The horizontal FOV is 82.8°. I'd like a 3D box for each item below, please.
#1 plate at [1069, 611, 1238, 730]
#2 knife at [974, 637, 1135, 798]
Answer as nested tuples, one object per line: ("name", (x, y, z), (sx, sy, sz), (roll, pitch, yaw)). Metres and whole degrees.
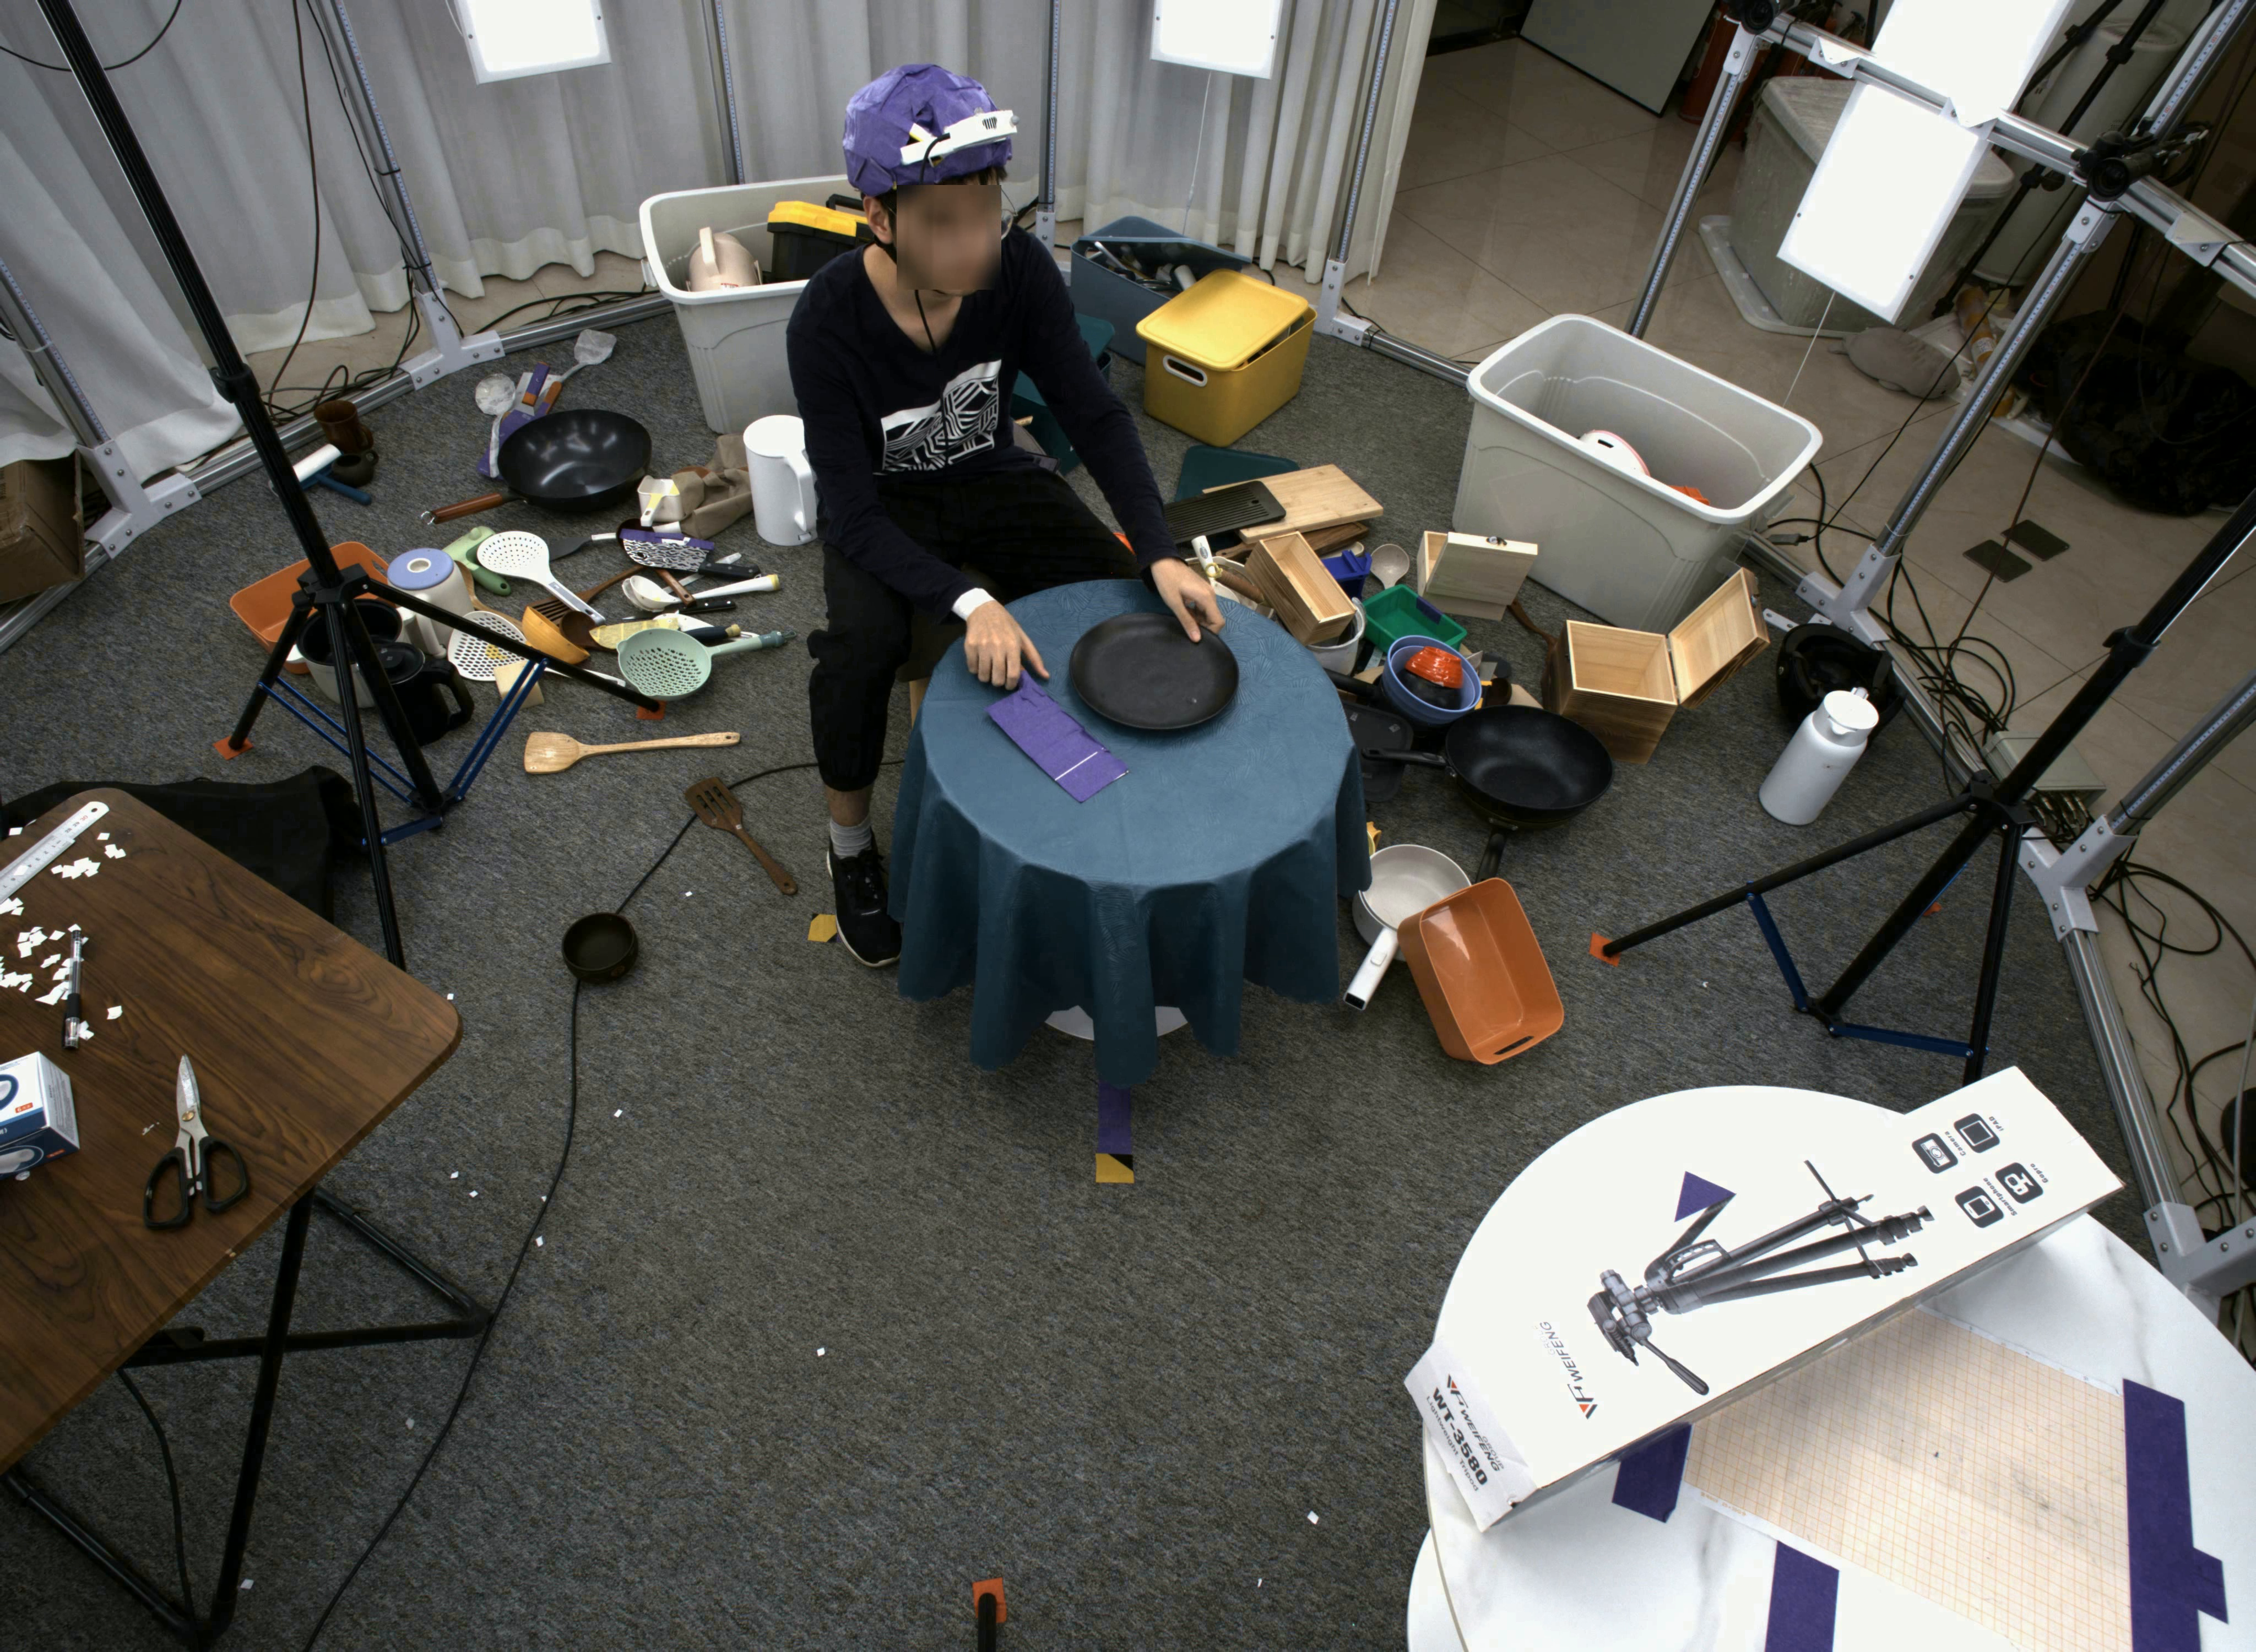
("plate", (0.037, -0.221, 1.846), (0.244, 0.023, 0.250), (2, 49, -2))
("knife", (-0.130, -0.153, 1.774), (0.104, 0.031, 0.320), (-32, 59, -28))
